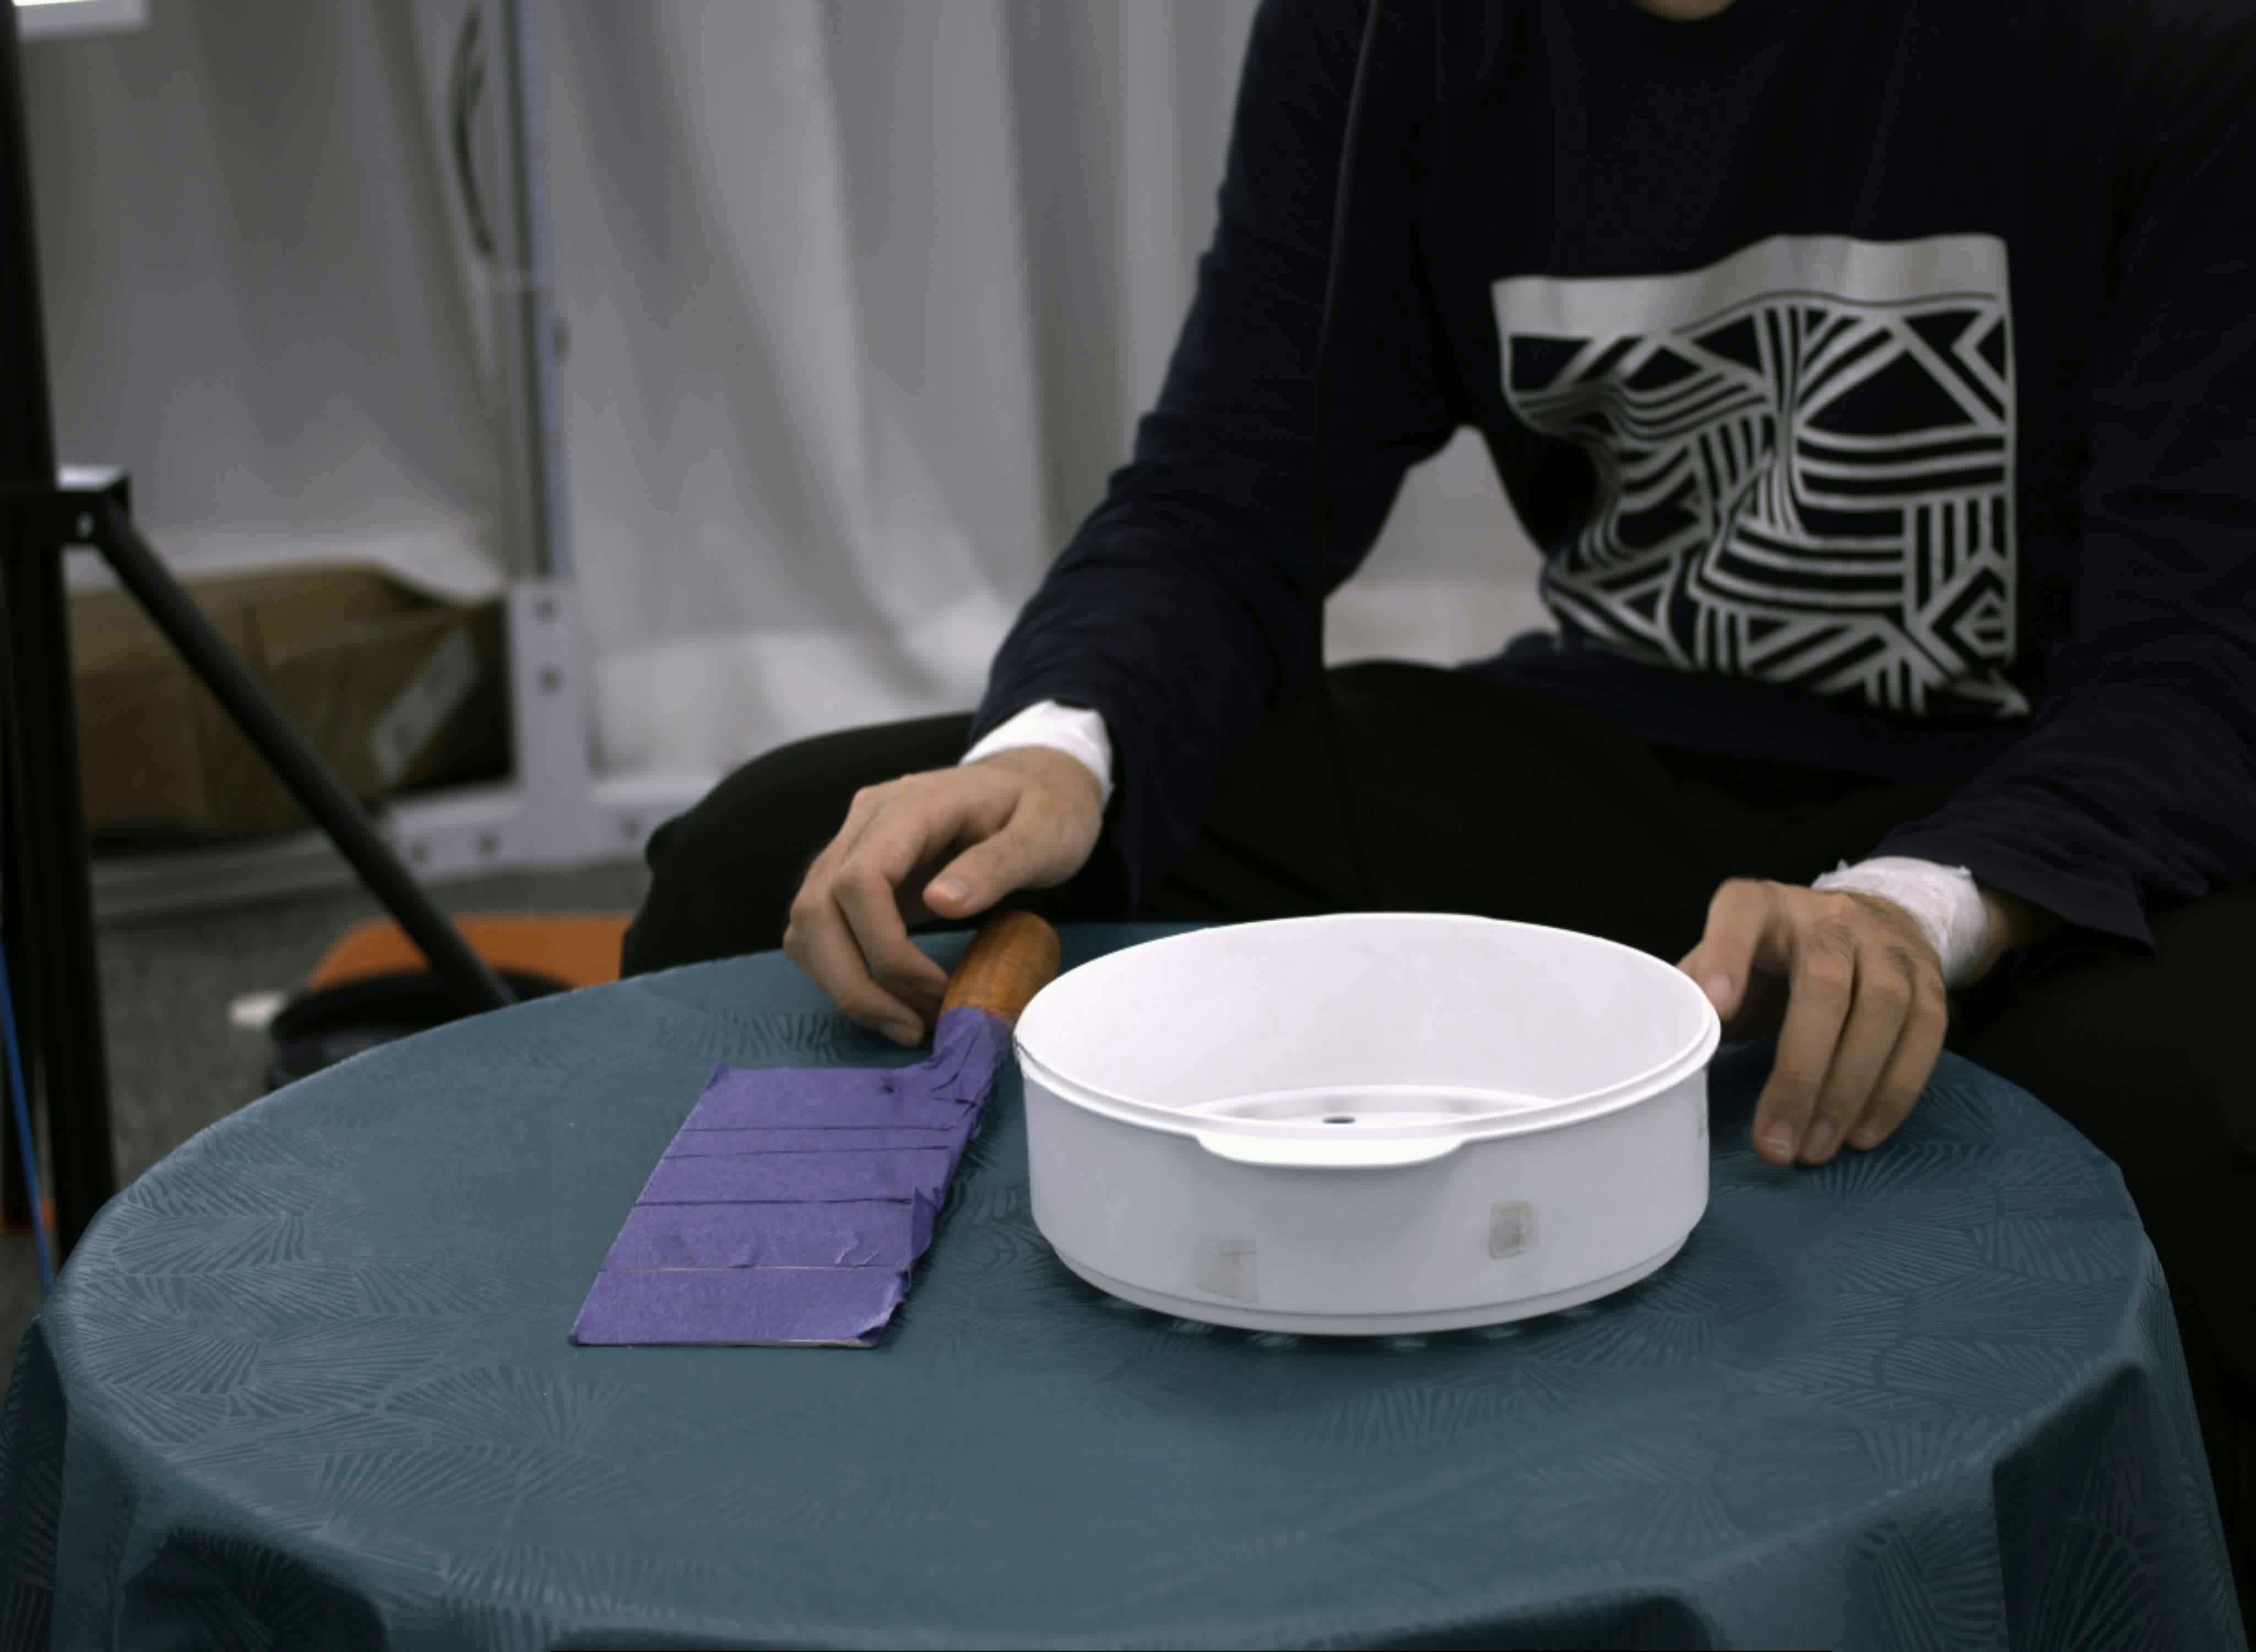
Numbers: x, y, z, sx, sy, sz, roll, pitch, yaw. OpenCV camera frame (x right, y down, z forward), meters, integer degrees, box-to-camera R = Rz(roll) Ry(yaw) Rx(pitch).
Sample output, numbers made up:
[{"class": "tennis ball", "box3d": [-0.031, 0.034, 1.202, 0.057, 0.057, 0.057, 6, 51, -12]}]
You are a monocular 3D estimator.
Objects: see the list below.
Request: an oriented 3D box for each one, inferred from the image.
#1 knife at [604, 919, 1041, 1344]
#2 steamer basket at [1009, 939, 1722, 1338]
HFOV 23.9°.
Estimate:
[{"class": "knife", "box3d": [-0.089, 0.088, 1.597, 0.104, 0.032, 0.314, 0, 16, 7]}, {"class": "steamer basket", "box3d": [0.067, 0.088, 1.504, 0.202, 0.069, 0.229, 2, 13, 9]}]
